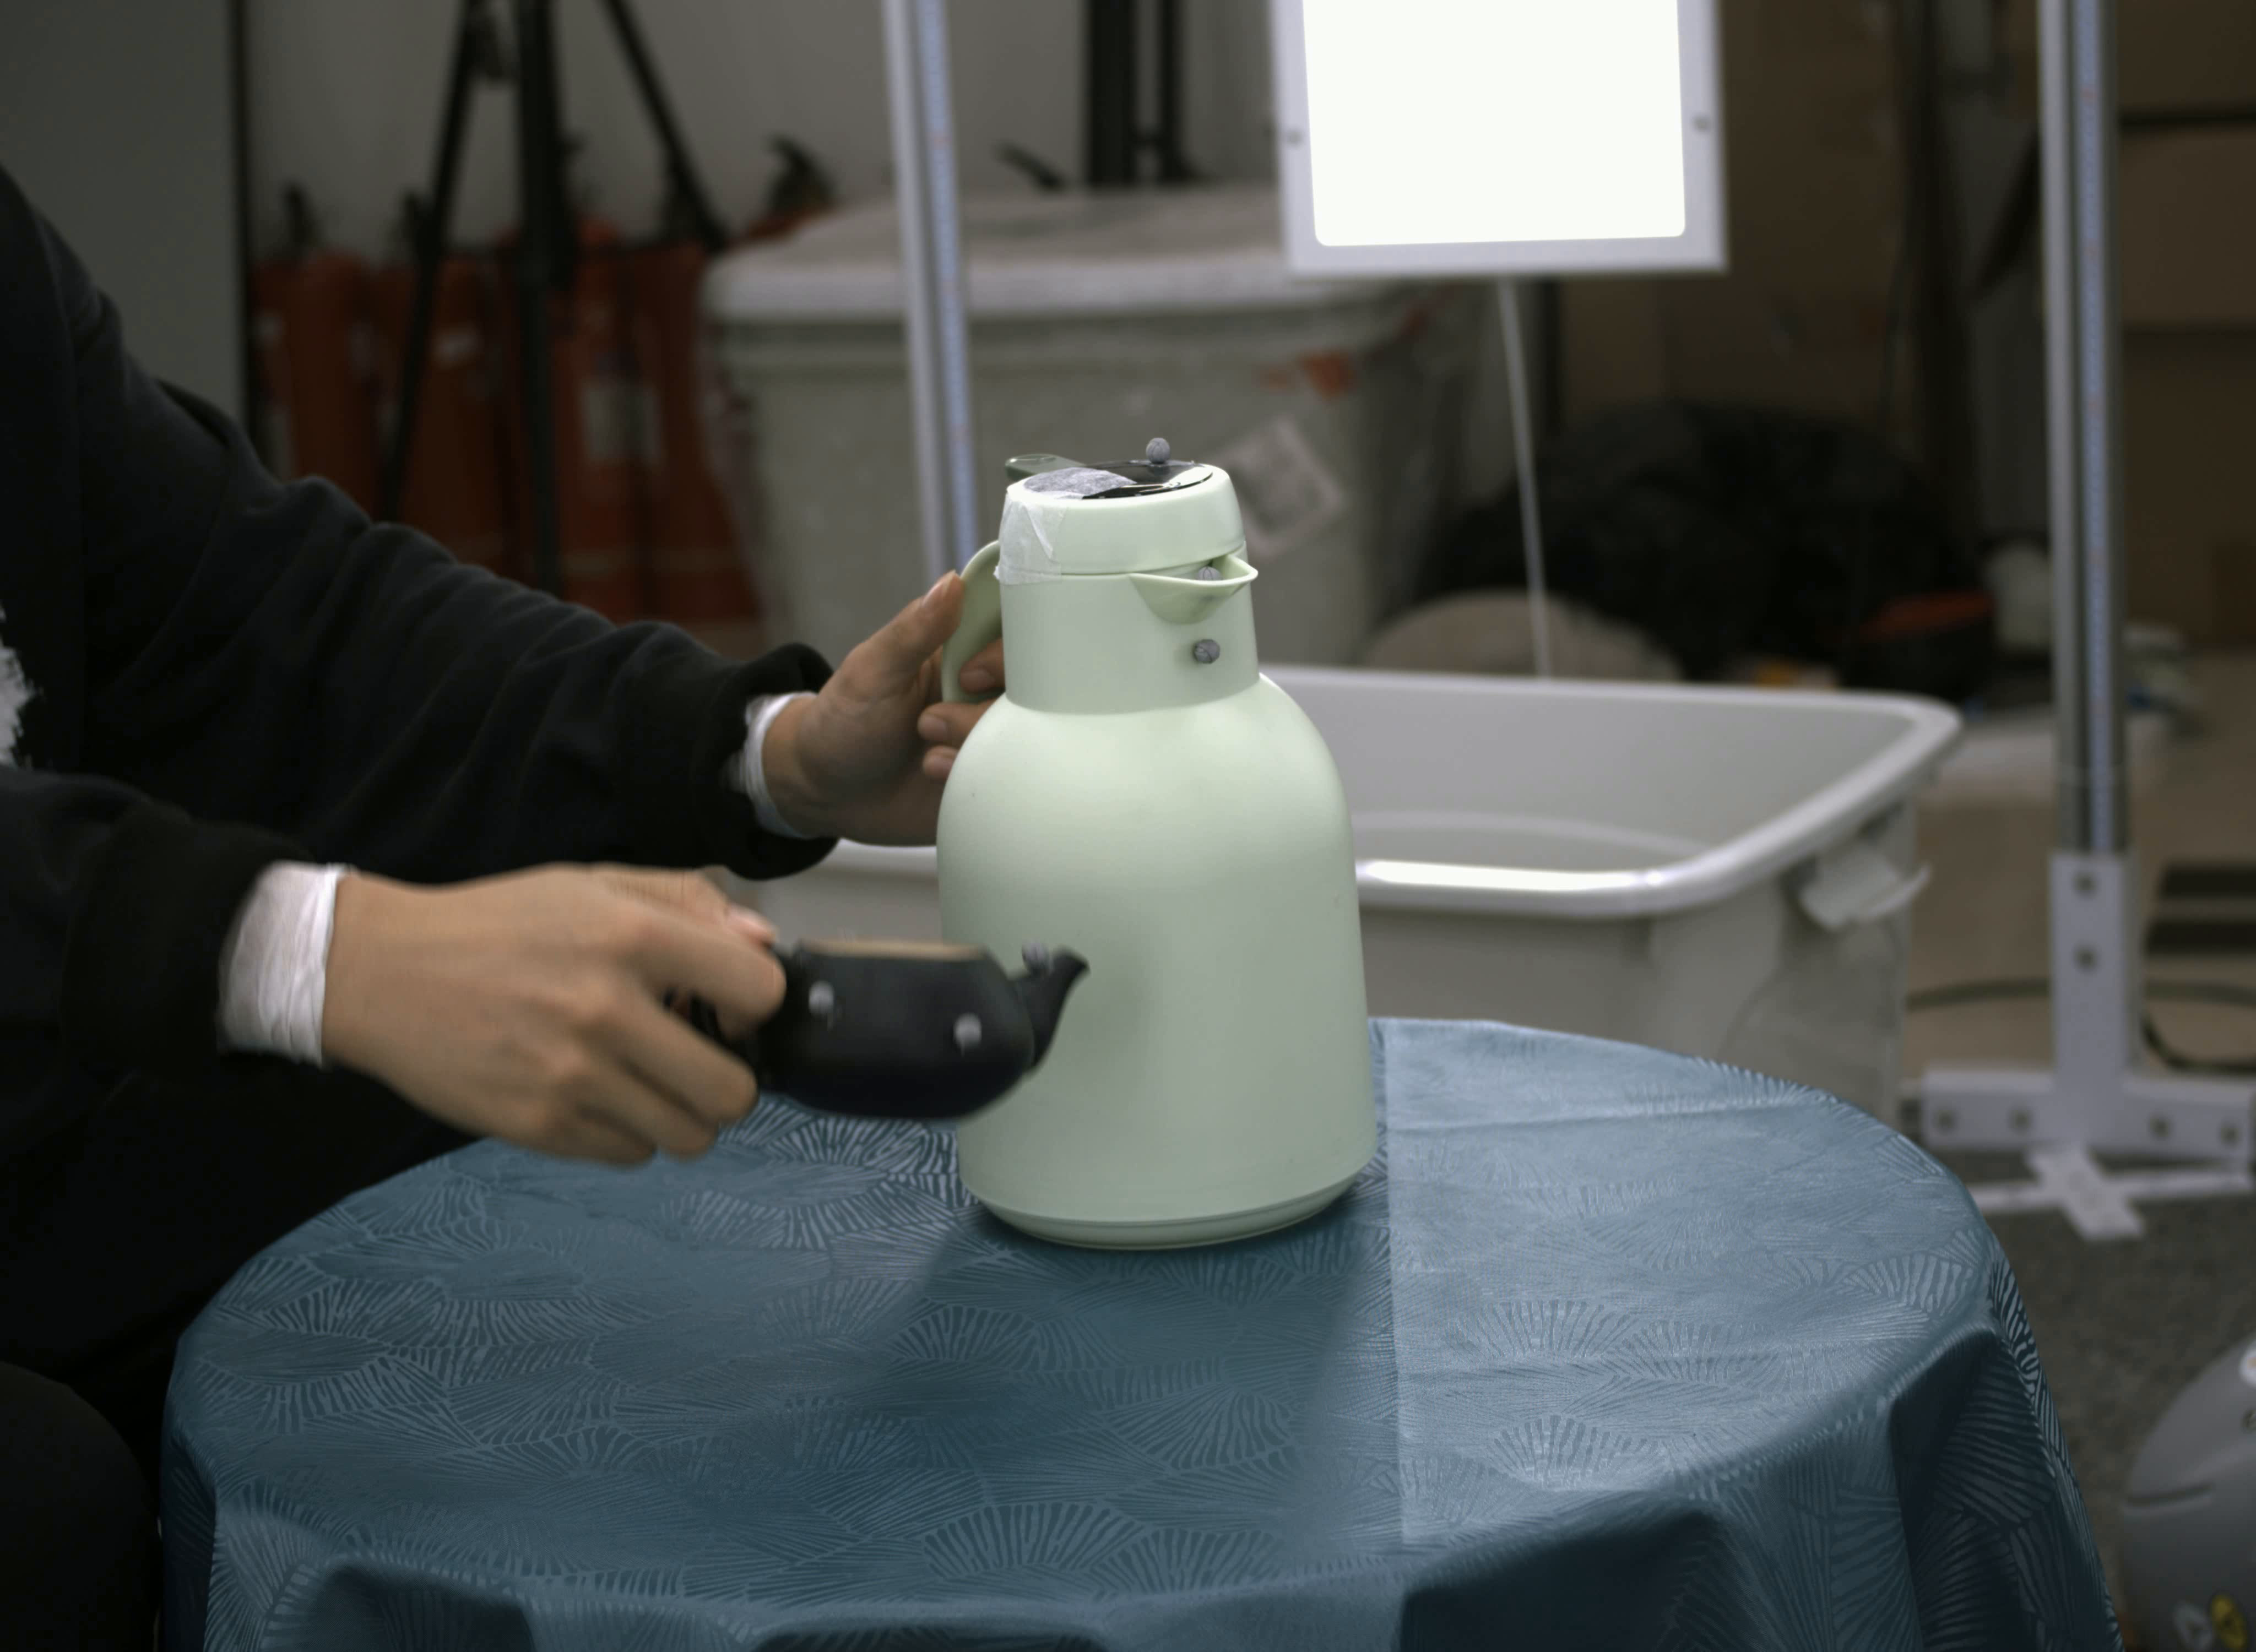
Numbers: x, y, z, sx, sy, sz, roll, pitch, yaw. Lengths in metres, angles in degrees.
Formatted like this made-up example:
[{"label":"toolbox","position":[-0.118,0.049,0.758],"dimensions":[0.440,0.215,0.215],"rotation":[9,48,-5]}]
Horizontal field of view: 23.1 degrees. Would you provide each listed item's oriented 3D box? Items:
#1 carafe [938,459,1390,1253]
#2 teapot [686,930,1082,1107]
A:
[{"label":"carafe","position":[-0.001,0.004,1.874],"dimensions":[0.141,0.257,0.190],"rotation":[-14,13,-29]},{"label":"teapot","position":[-0.076,0.060,1.719],"dimensions":[0.130,0.053,0.092],"rotation":[2,1,-24]}]
